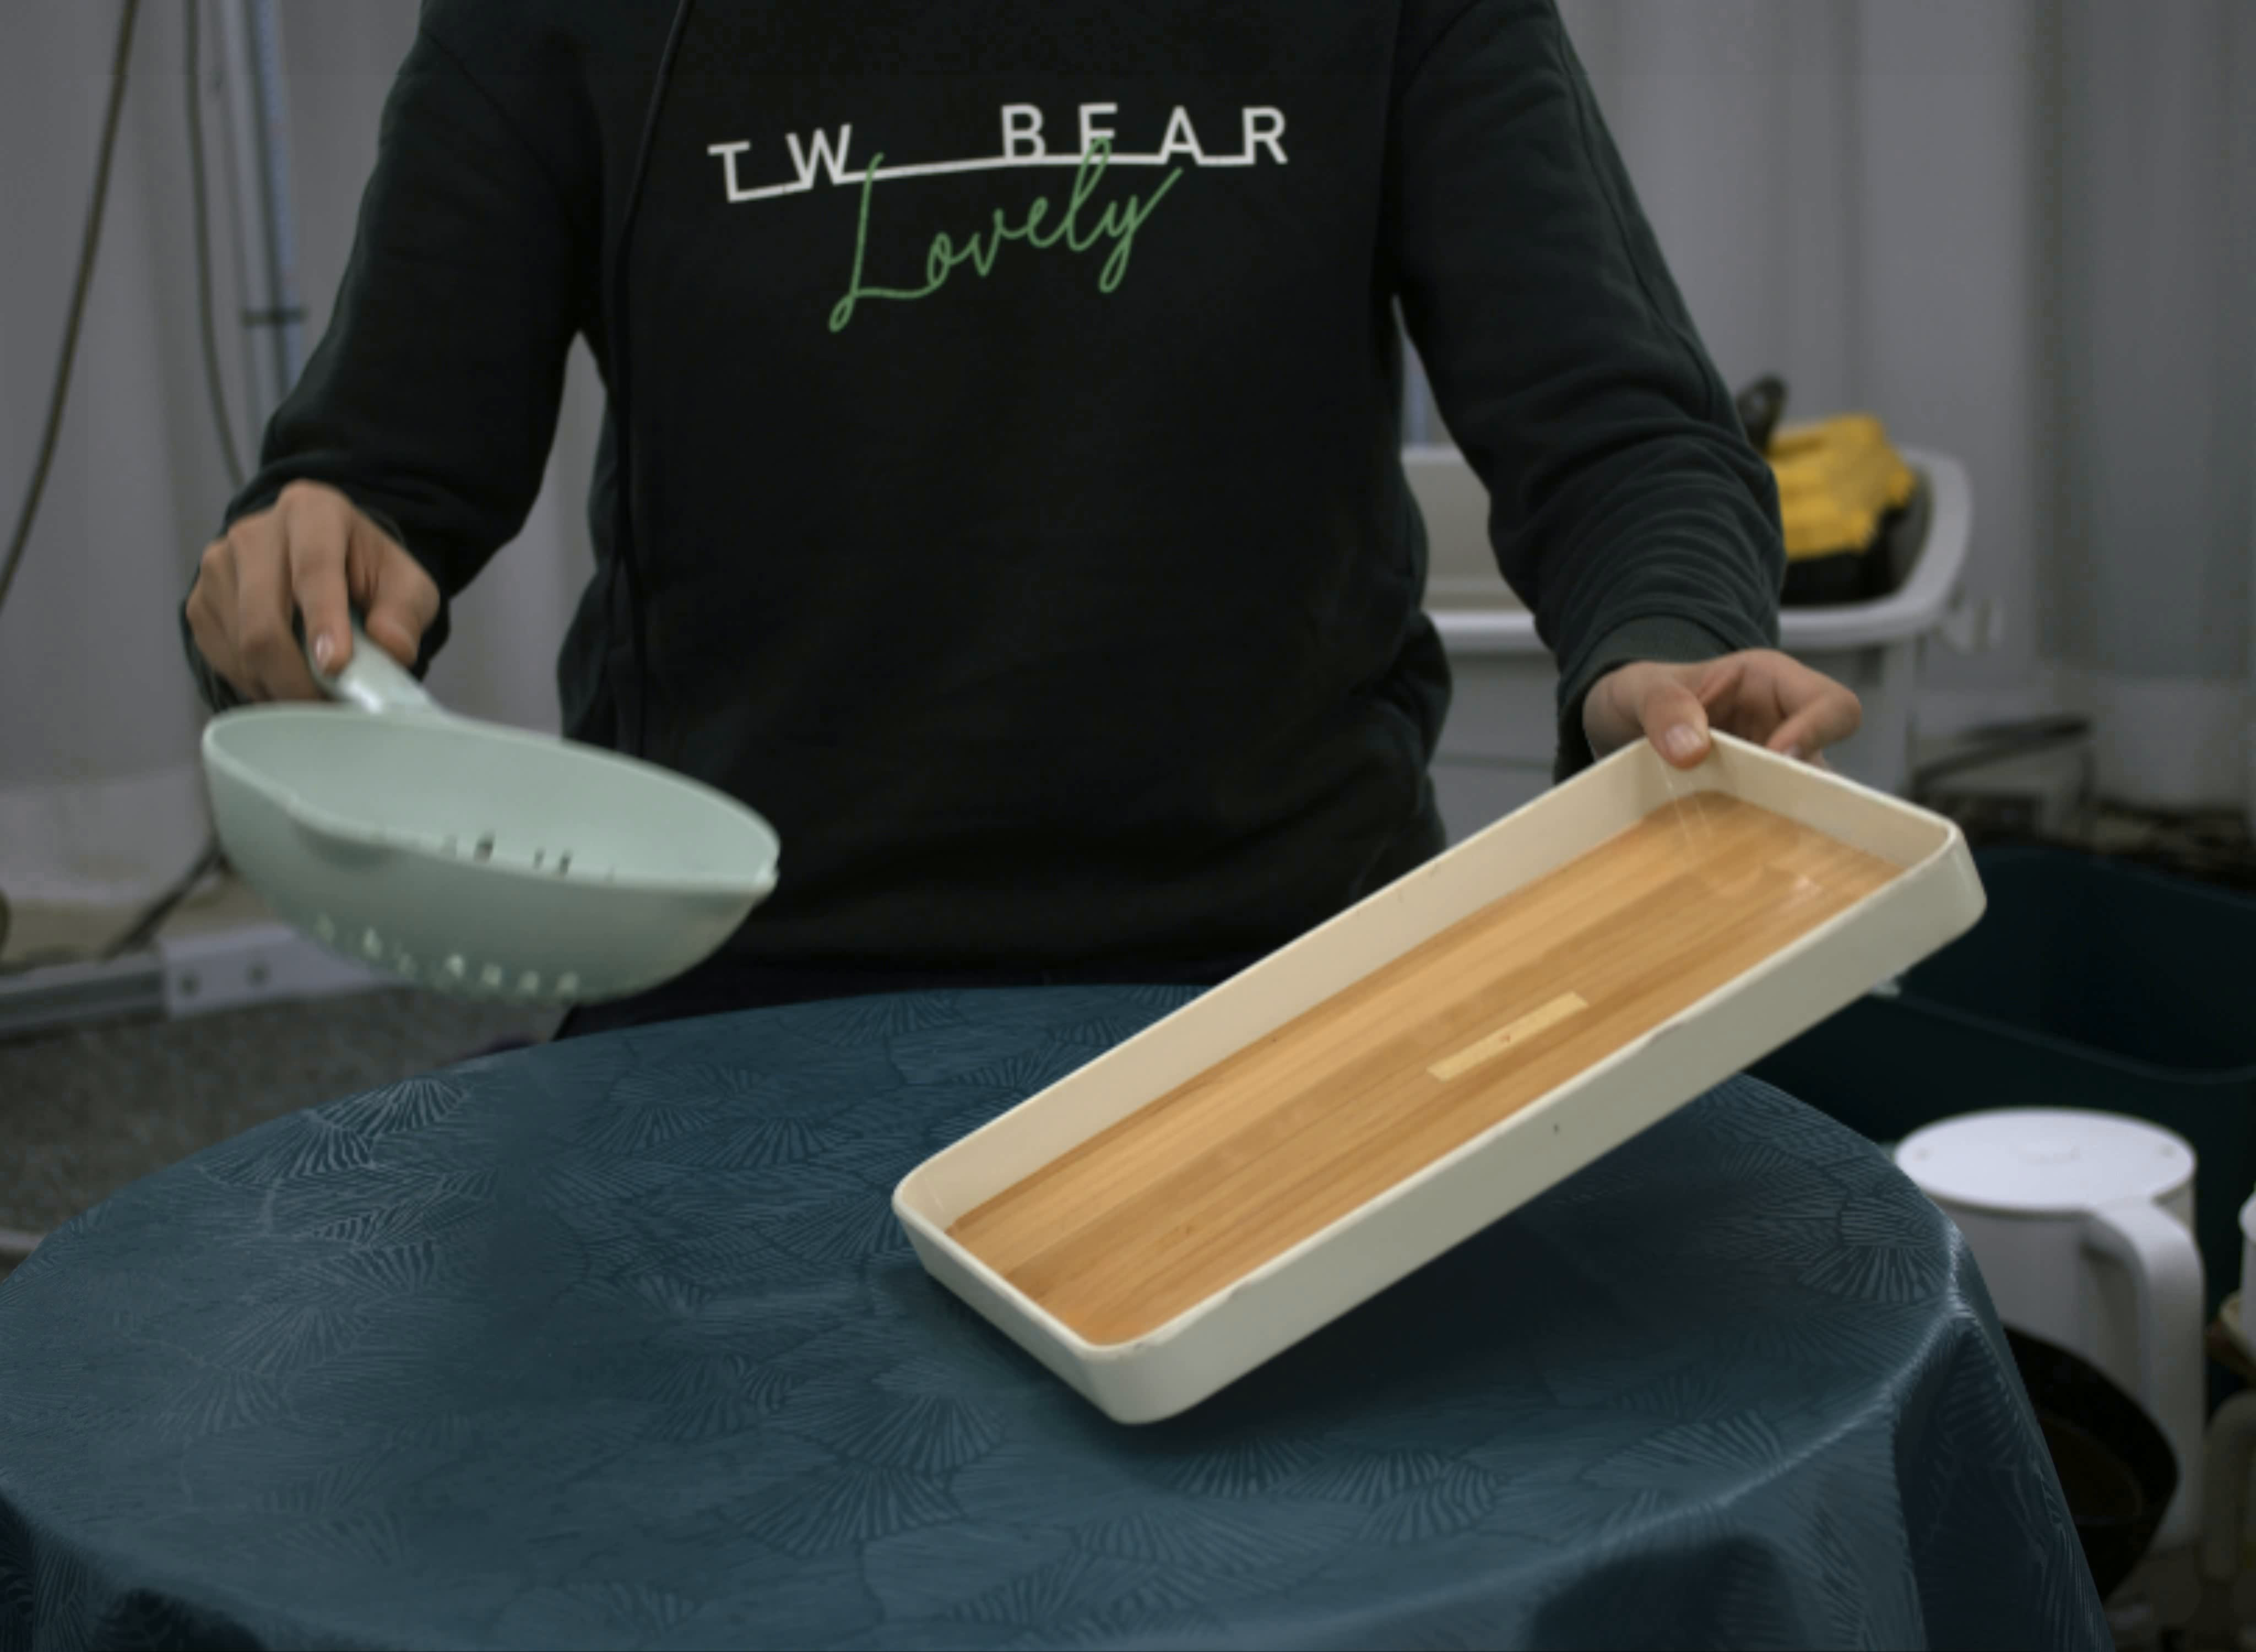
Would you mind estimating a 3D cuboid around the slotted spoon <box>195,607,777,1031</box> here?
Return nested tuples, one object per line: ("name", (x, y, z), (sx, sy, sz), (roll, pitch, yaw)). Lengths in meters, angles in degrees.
("slotted spoon", (-0.219, -0.018, 1.667), (0.168, 0.075, 0.363), (9, 20, -22))

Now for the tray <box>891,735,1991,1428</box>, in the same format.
("tray", (0.088, 0.069, 1.603), (0.300, 0.027, 0.193), (-29, 20, -14))
